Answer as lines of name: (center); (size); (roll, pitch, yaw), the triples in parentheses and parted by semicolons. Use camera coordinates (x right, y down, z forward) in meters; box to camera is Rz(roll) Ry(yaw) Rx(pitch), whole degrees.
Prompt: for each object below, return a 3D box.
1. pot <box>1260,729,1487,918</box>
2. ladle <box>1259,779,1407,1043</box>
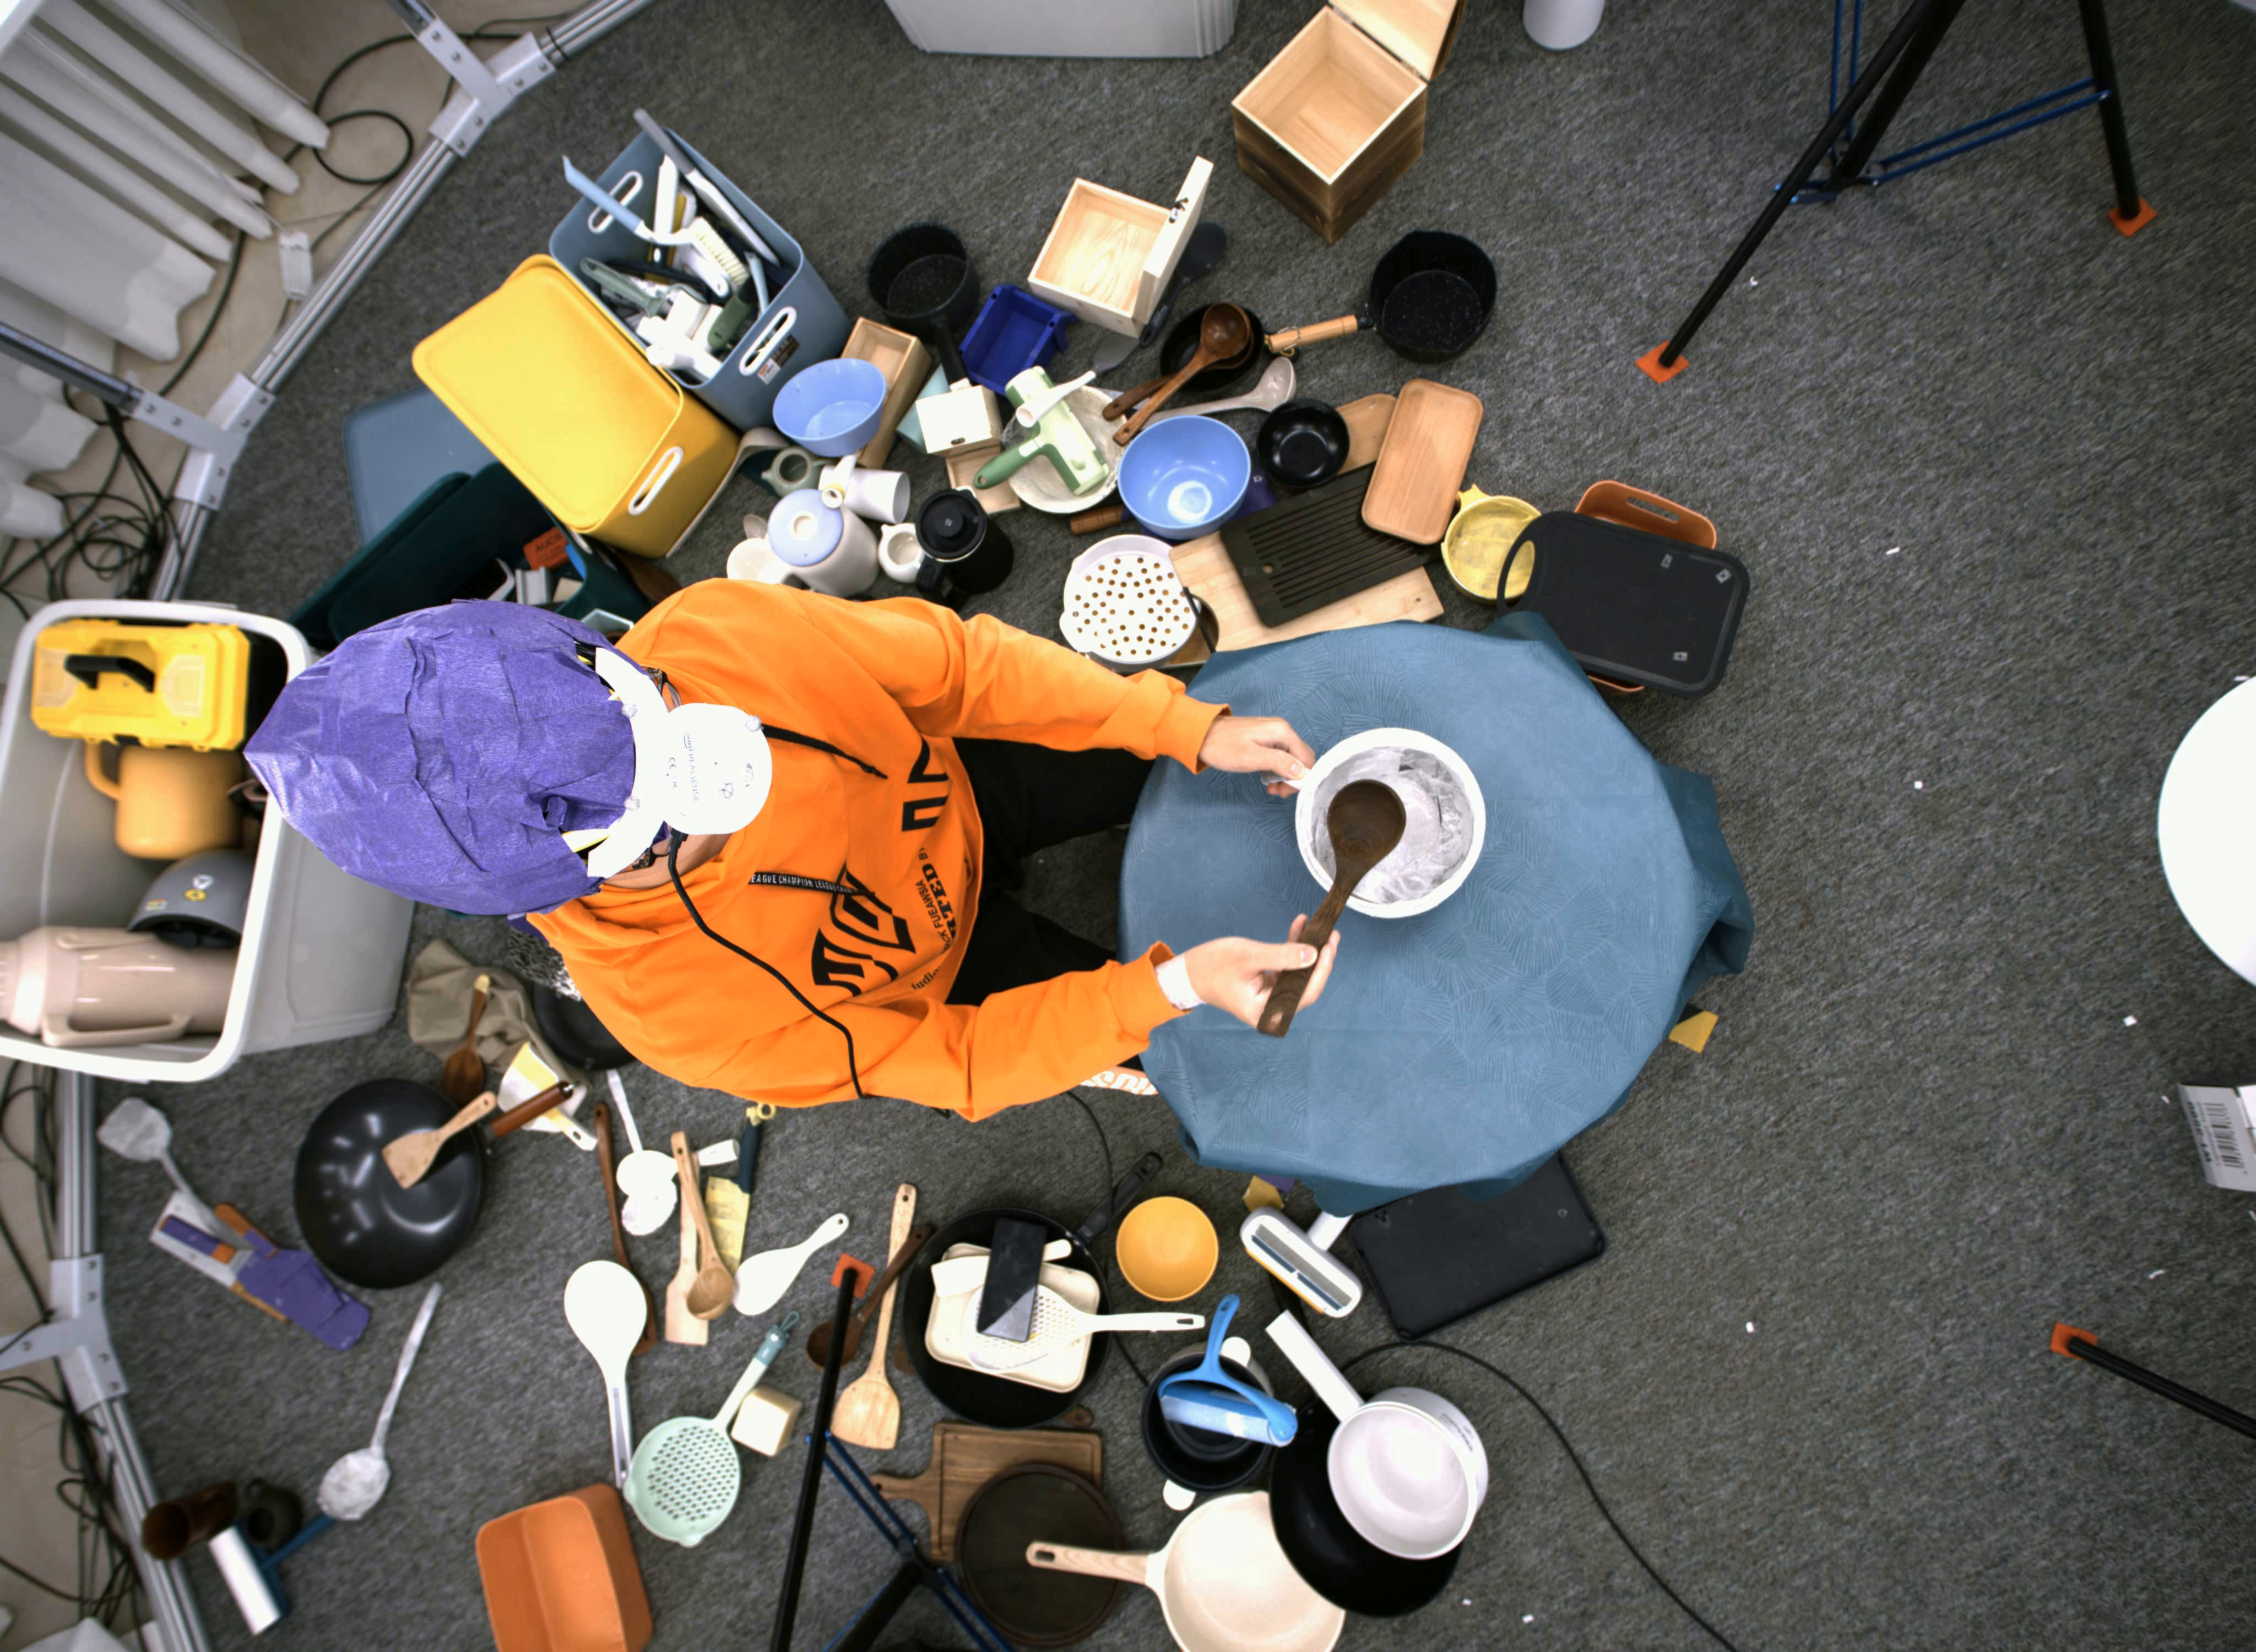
pot: (0.235, -0.012, 1.364); (0.233, 0.136, 0.179); (27, 92, 12)
ladle: (0.175, 0.066, 1.220); (0.076, 0.073, 0.267); (13, 50, 26)
